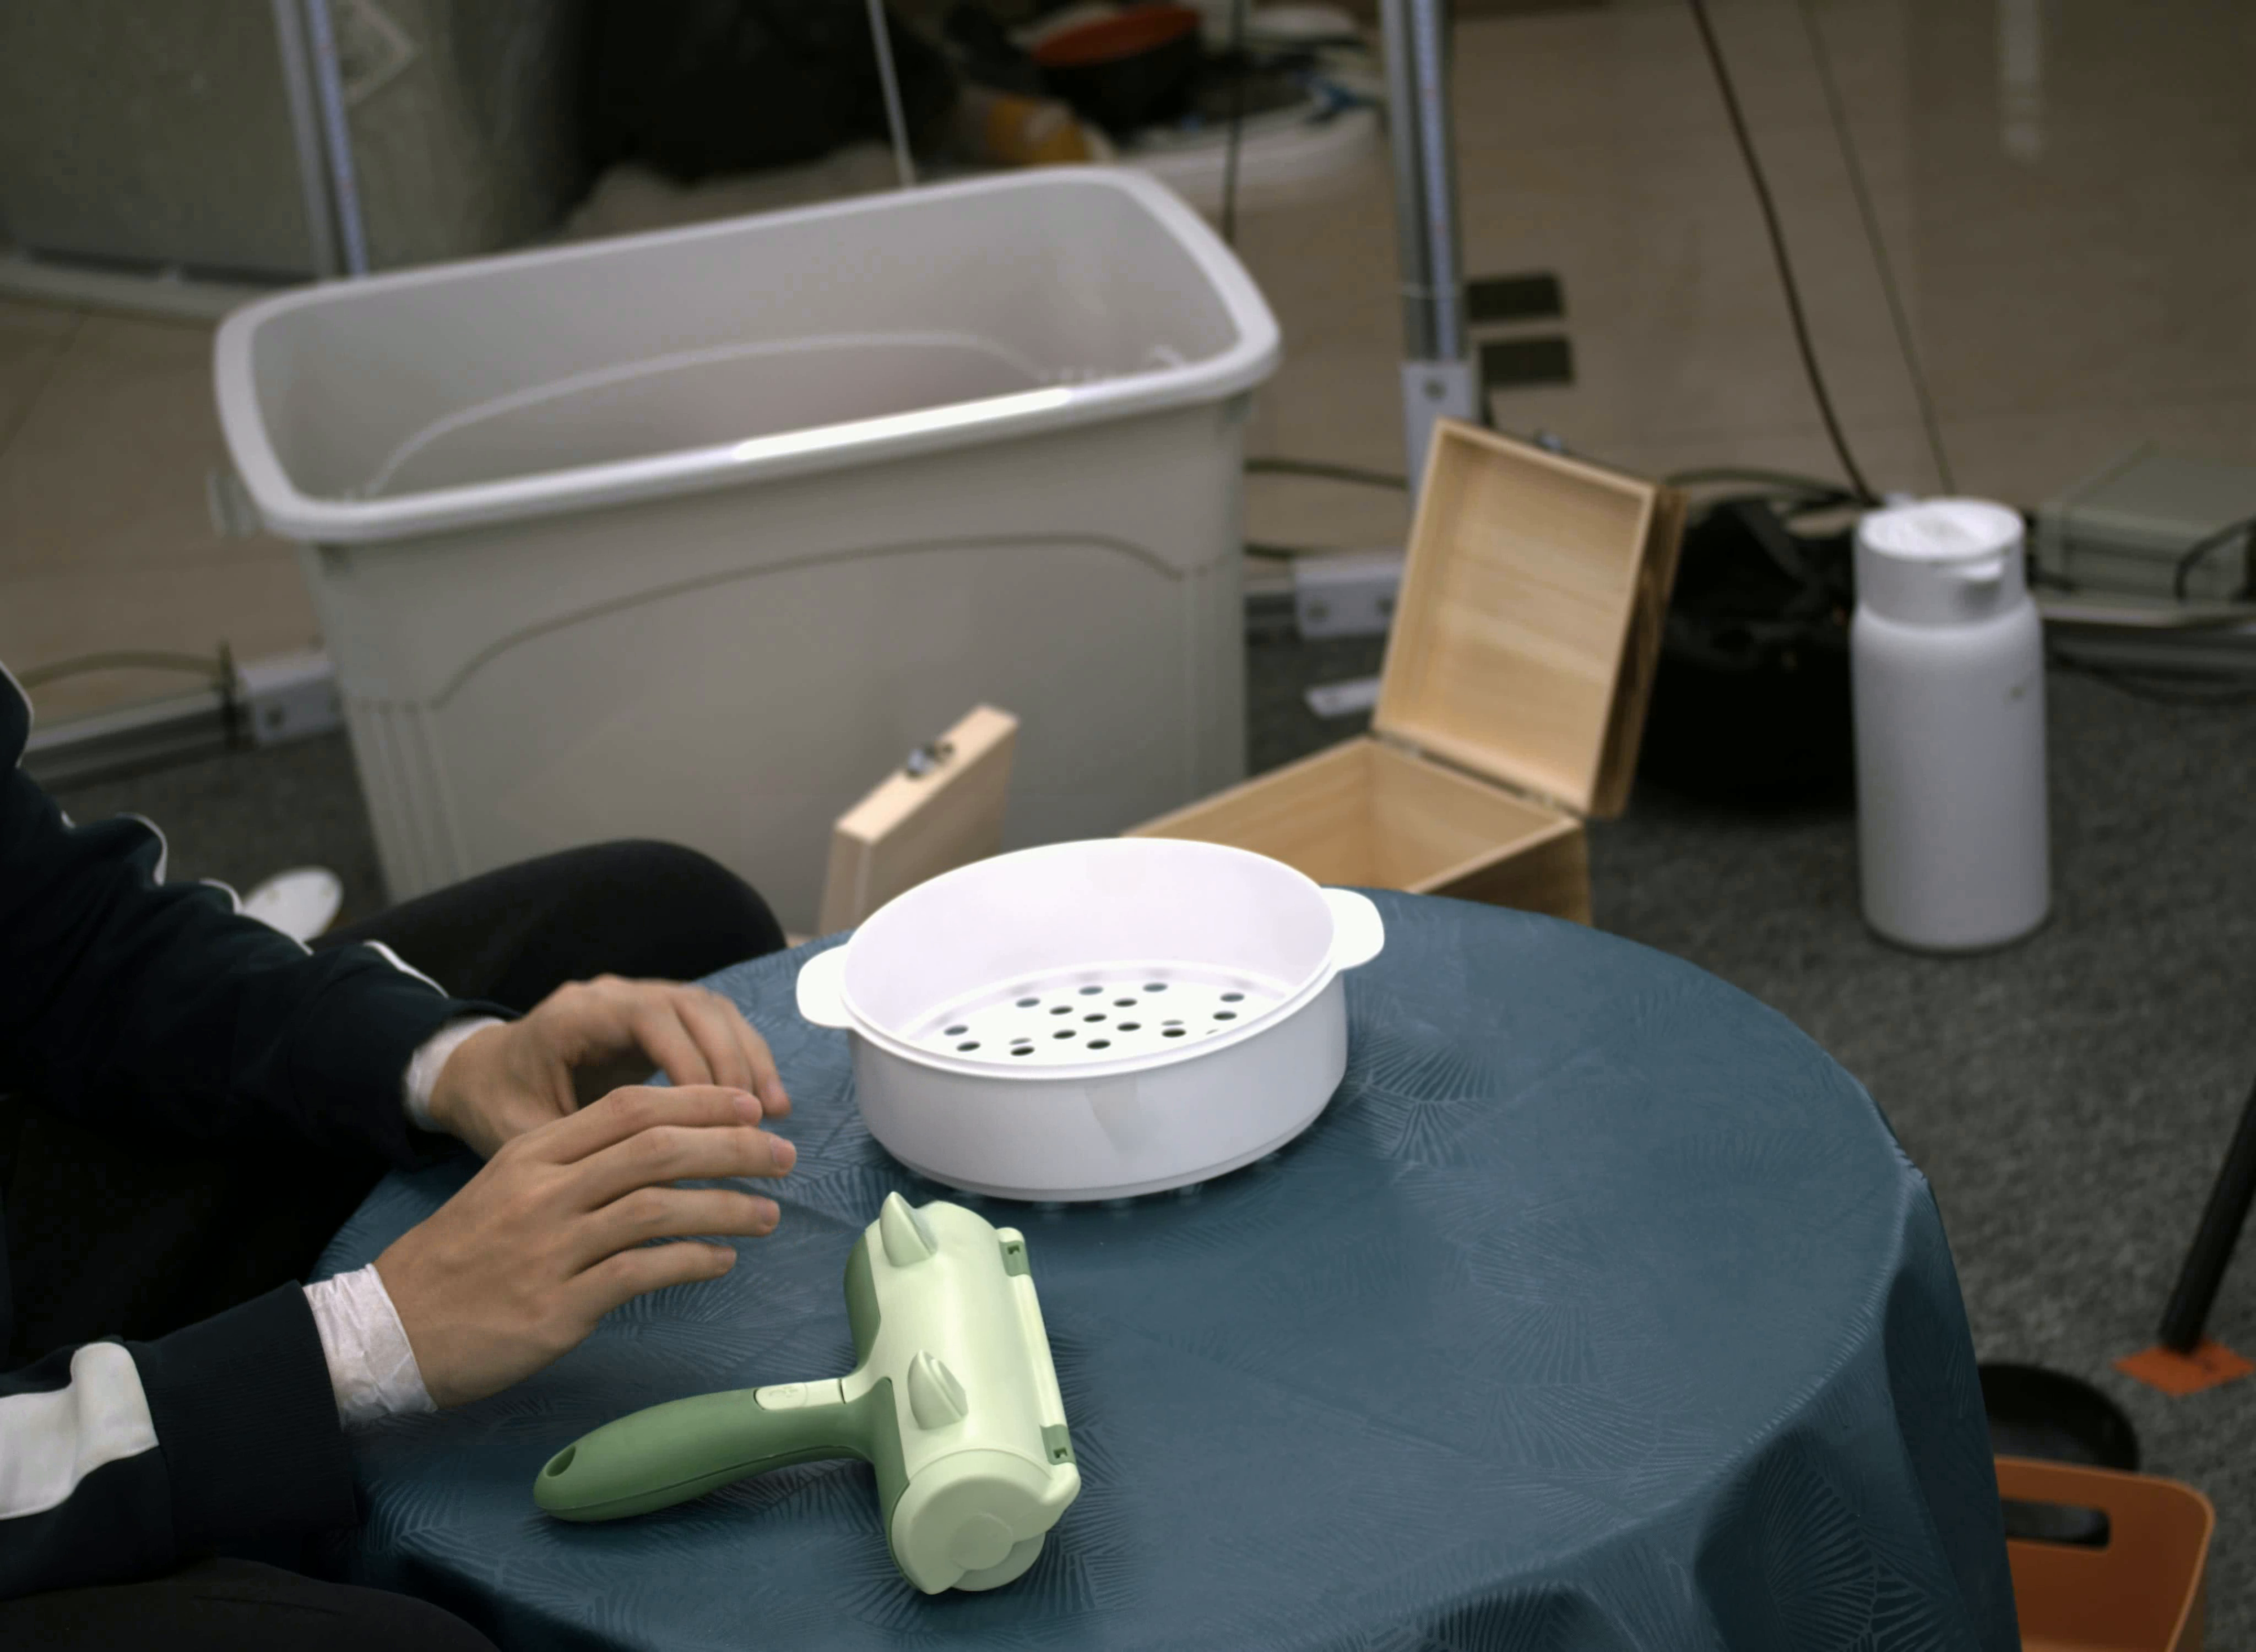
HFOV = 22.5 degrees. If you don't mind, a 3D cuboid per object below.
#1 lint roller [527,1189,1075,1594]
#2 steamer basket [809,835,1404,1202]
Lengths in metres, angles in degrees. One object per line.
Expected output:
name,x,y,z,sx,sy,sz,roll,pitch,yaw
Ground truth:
lint roller,-0.118,0.193,1.964,0.183,0.083,0.196,-4,25,-5
steamer basket,-0.006,0.075,2.200,0.230,0.070,0.199,-5,26,-2
